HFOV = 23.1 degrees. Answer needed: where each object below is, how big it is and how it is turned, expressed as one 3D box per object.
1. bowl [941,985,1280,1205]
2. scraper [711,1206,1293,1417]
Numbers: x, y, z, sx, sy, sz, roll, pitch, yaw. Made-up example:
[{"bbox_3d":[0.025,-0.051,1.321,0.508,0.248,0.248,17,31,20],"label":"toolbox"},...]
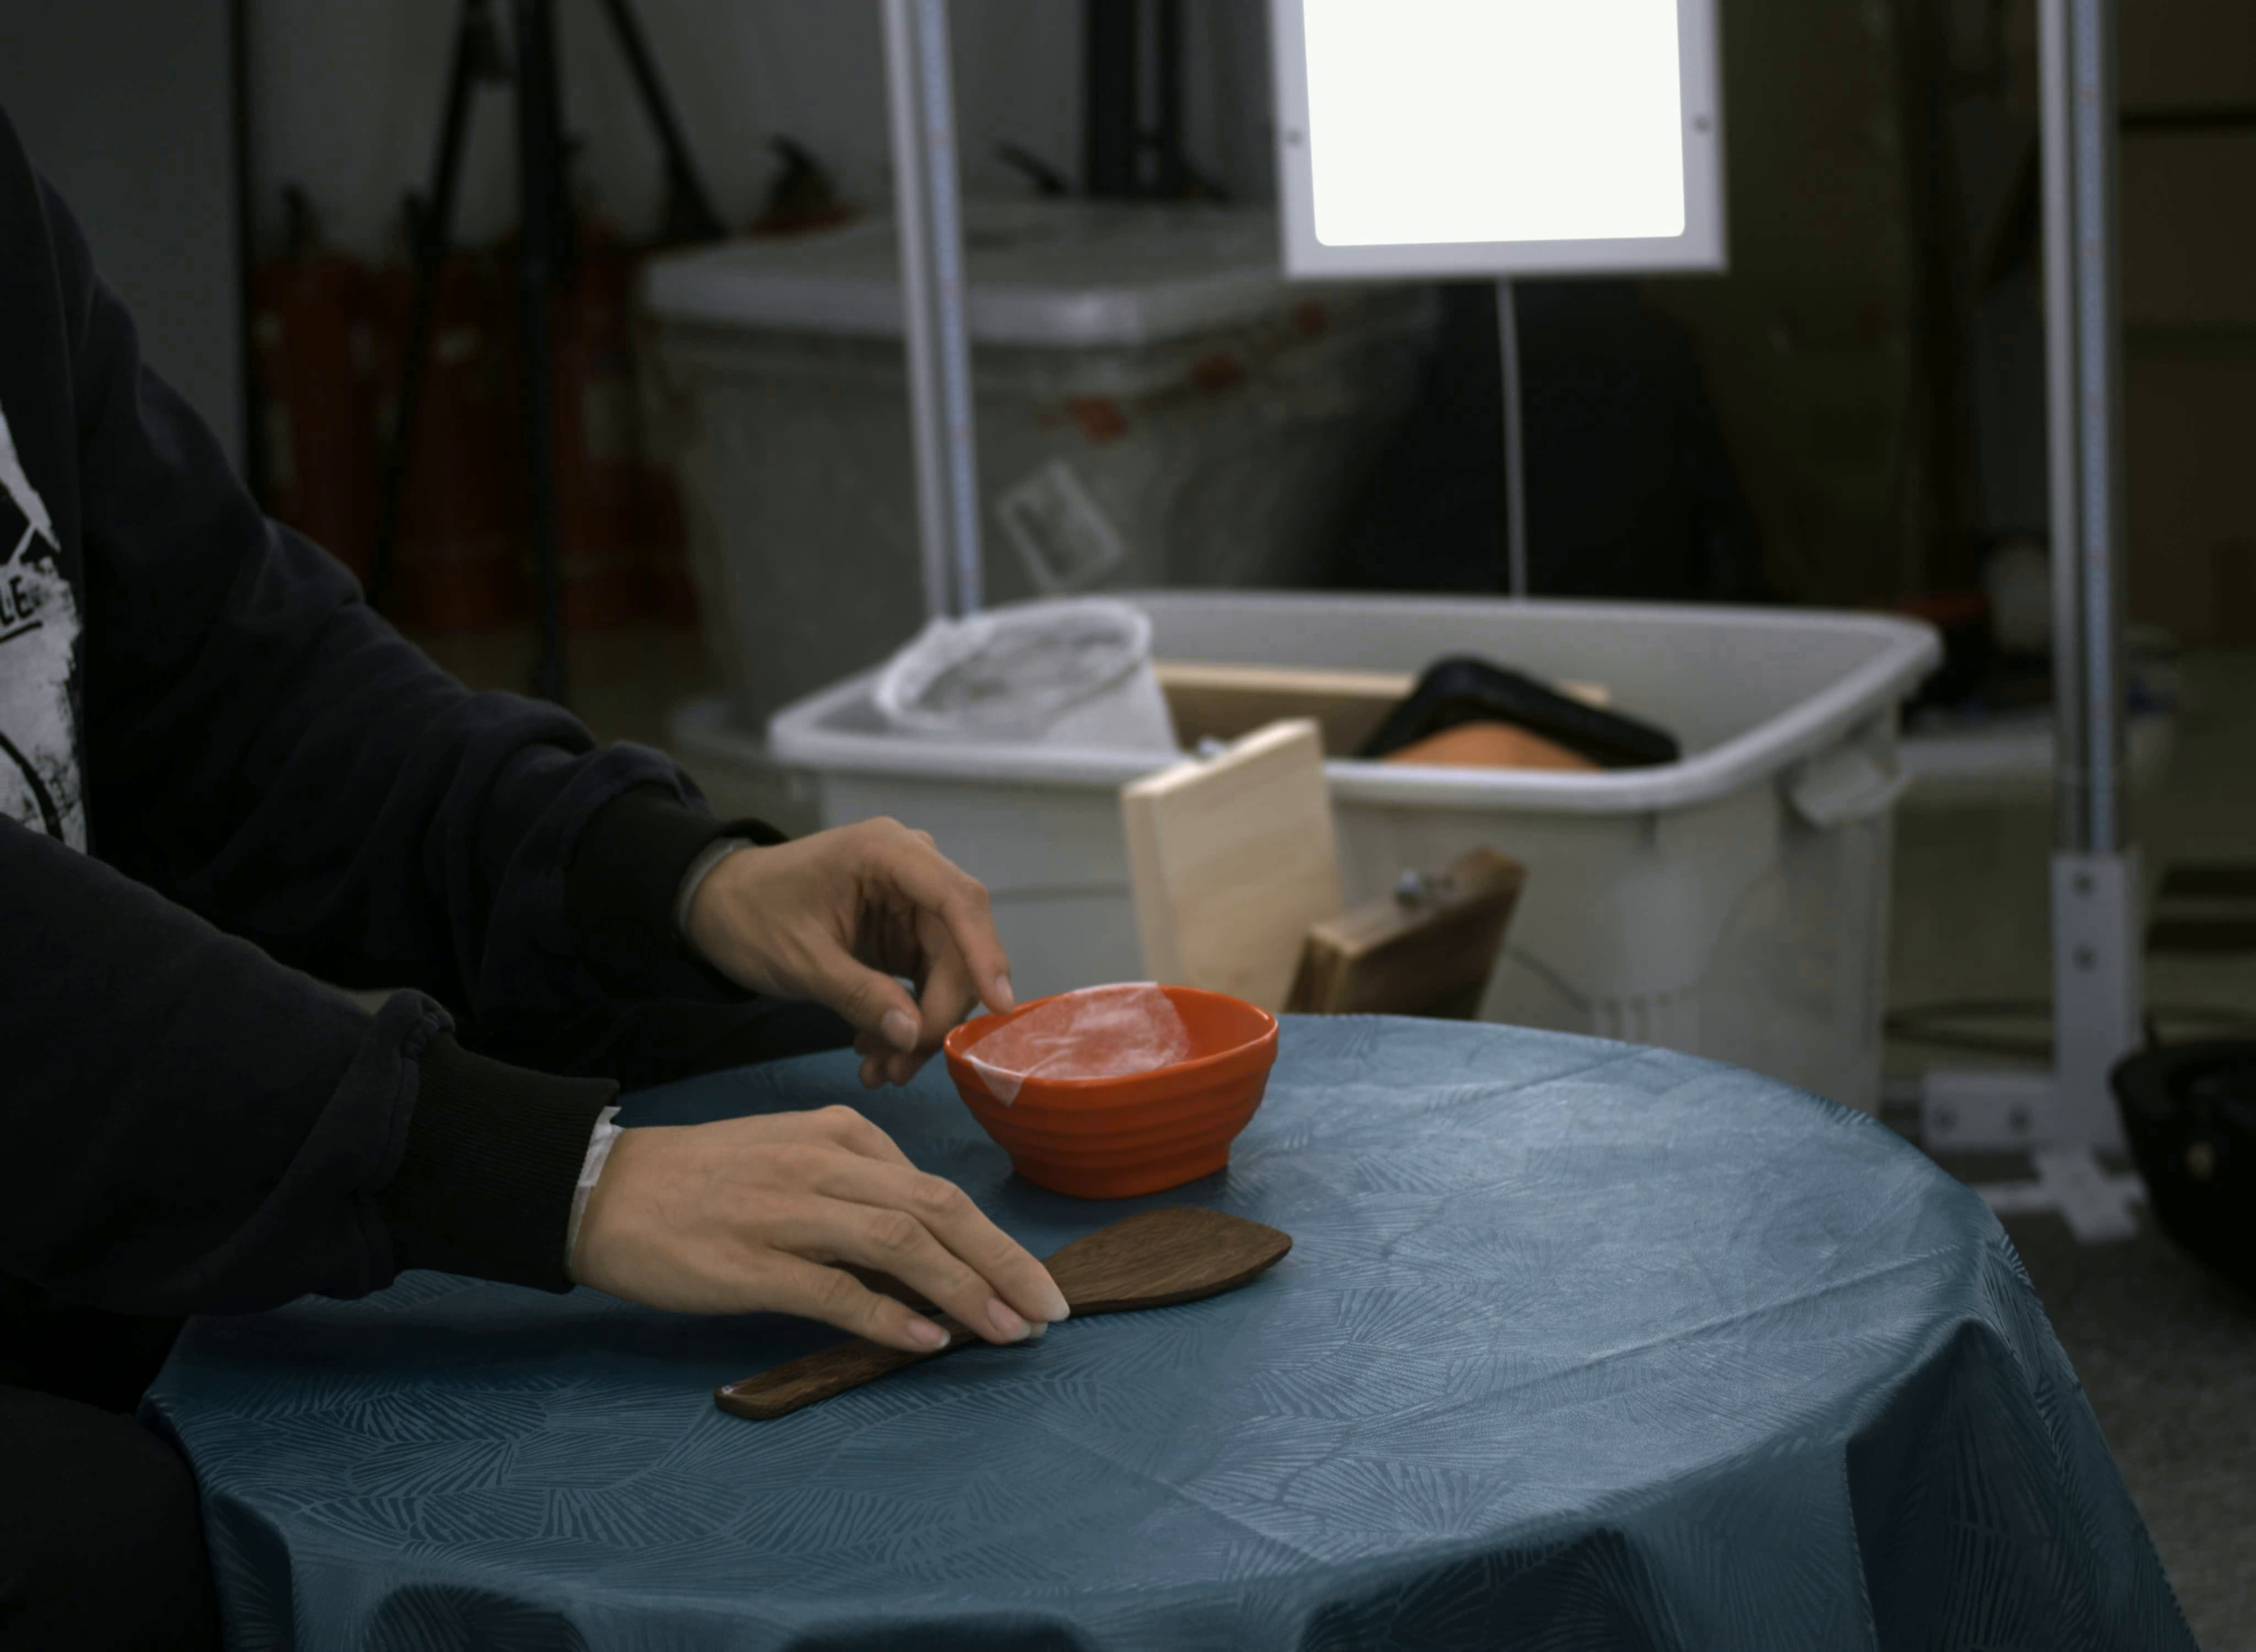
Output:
[{"bbox_3d":[-0.004,0.096,1.921,0.118,0.051,0.119,-4,15,0],"label":"bowl"},{"bbox_3d":[-0.043,0.157,1.770,0.206,0.011,0.077,-16,16,-35],"label":"scraper"}]
